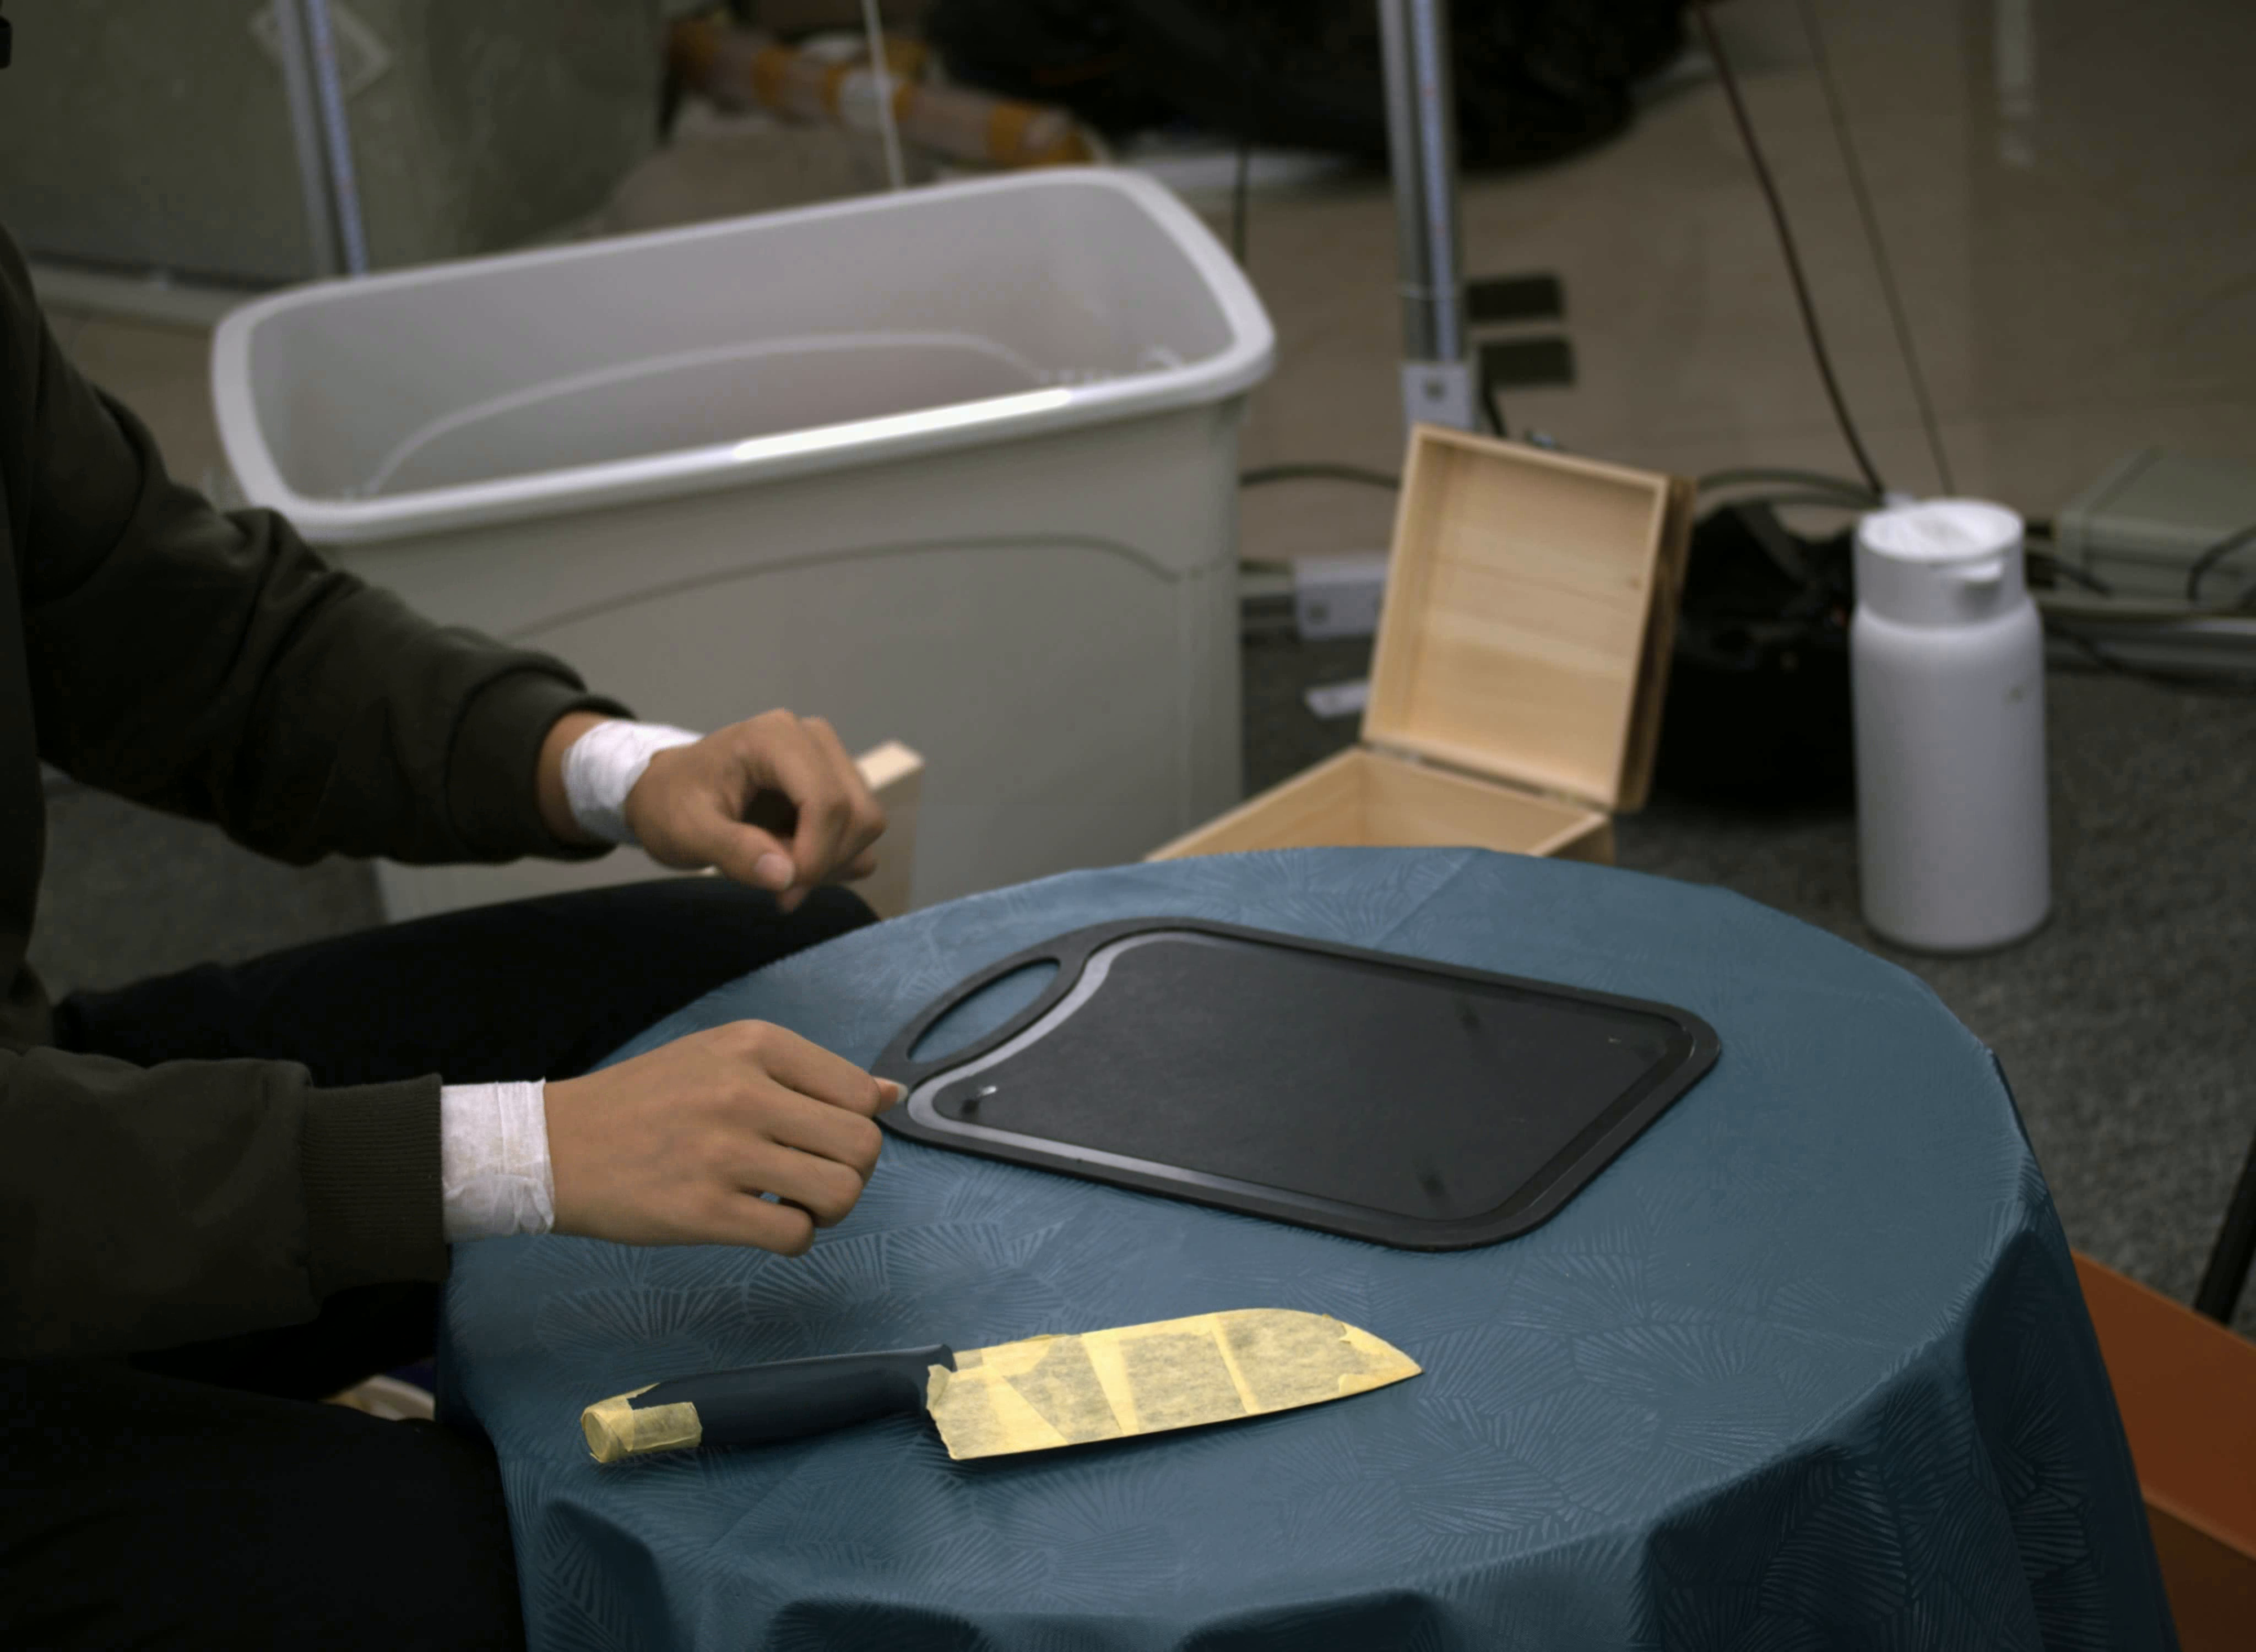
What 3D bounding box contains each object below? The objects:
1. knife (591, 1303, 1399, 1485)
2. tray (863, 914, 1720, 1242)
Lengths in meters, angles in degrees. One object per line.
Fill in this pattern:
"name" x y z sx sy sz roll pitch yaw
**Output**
"knife" -0.045 0.203 2.007 0.289 0.027 0.080 -9 23 -6
"tray" 0.055 0.093 2.227 0.324 0.010 0.209 10 30 33
